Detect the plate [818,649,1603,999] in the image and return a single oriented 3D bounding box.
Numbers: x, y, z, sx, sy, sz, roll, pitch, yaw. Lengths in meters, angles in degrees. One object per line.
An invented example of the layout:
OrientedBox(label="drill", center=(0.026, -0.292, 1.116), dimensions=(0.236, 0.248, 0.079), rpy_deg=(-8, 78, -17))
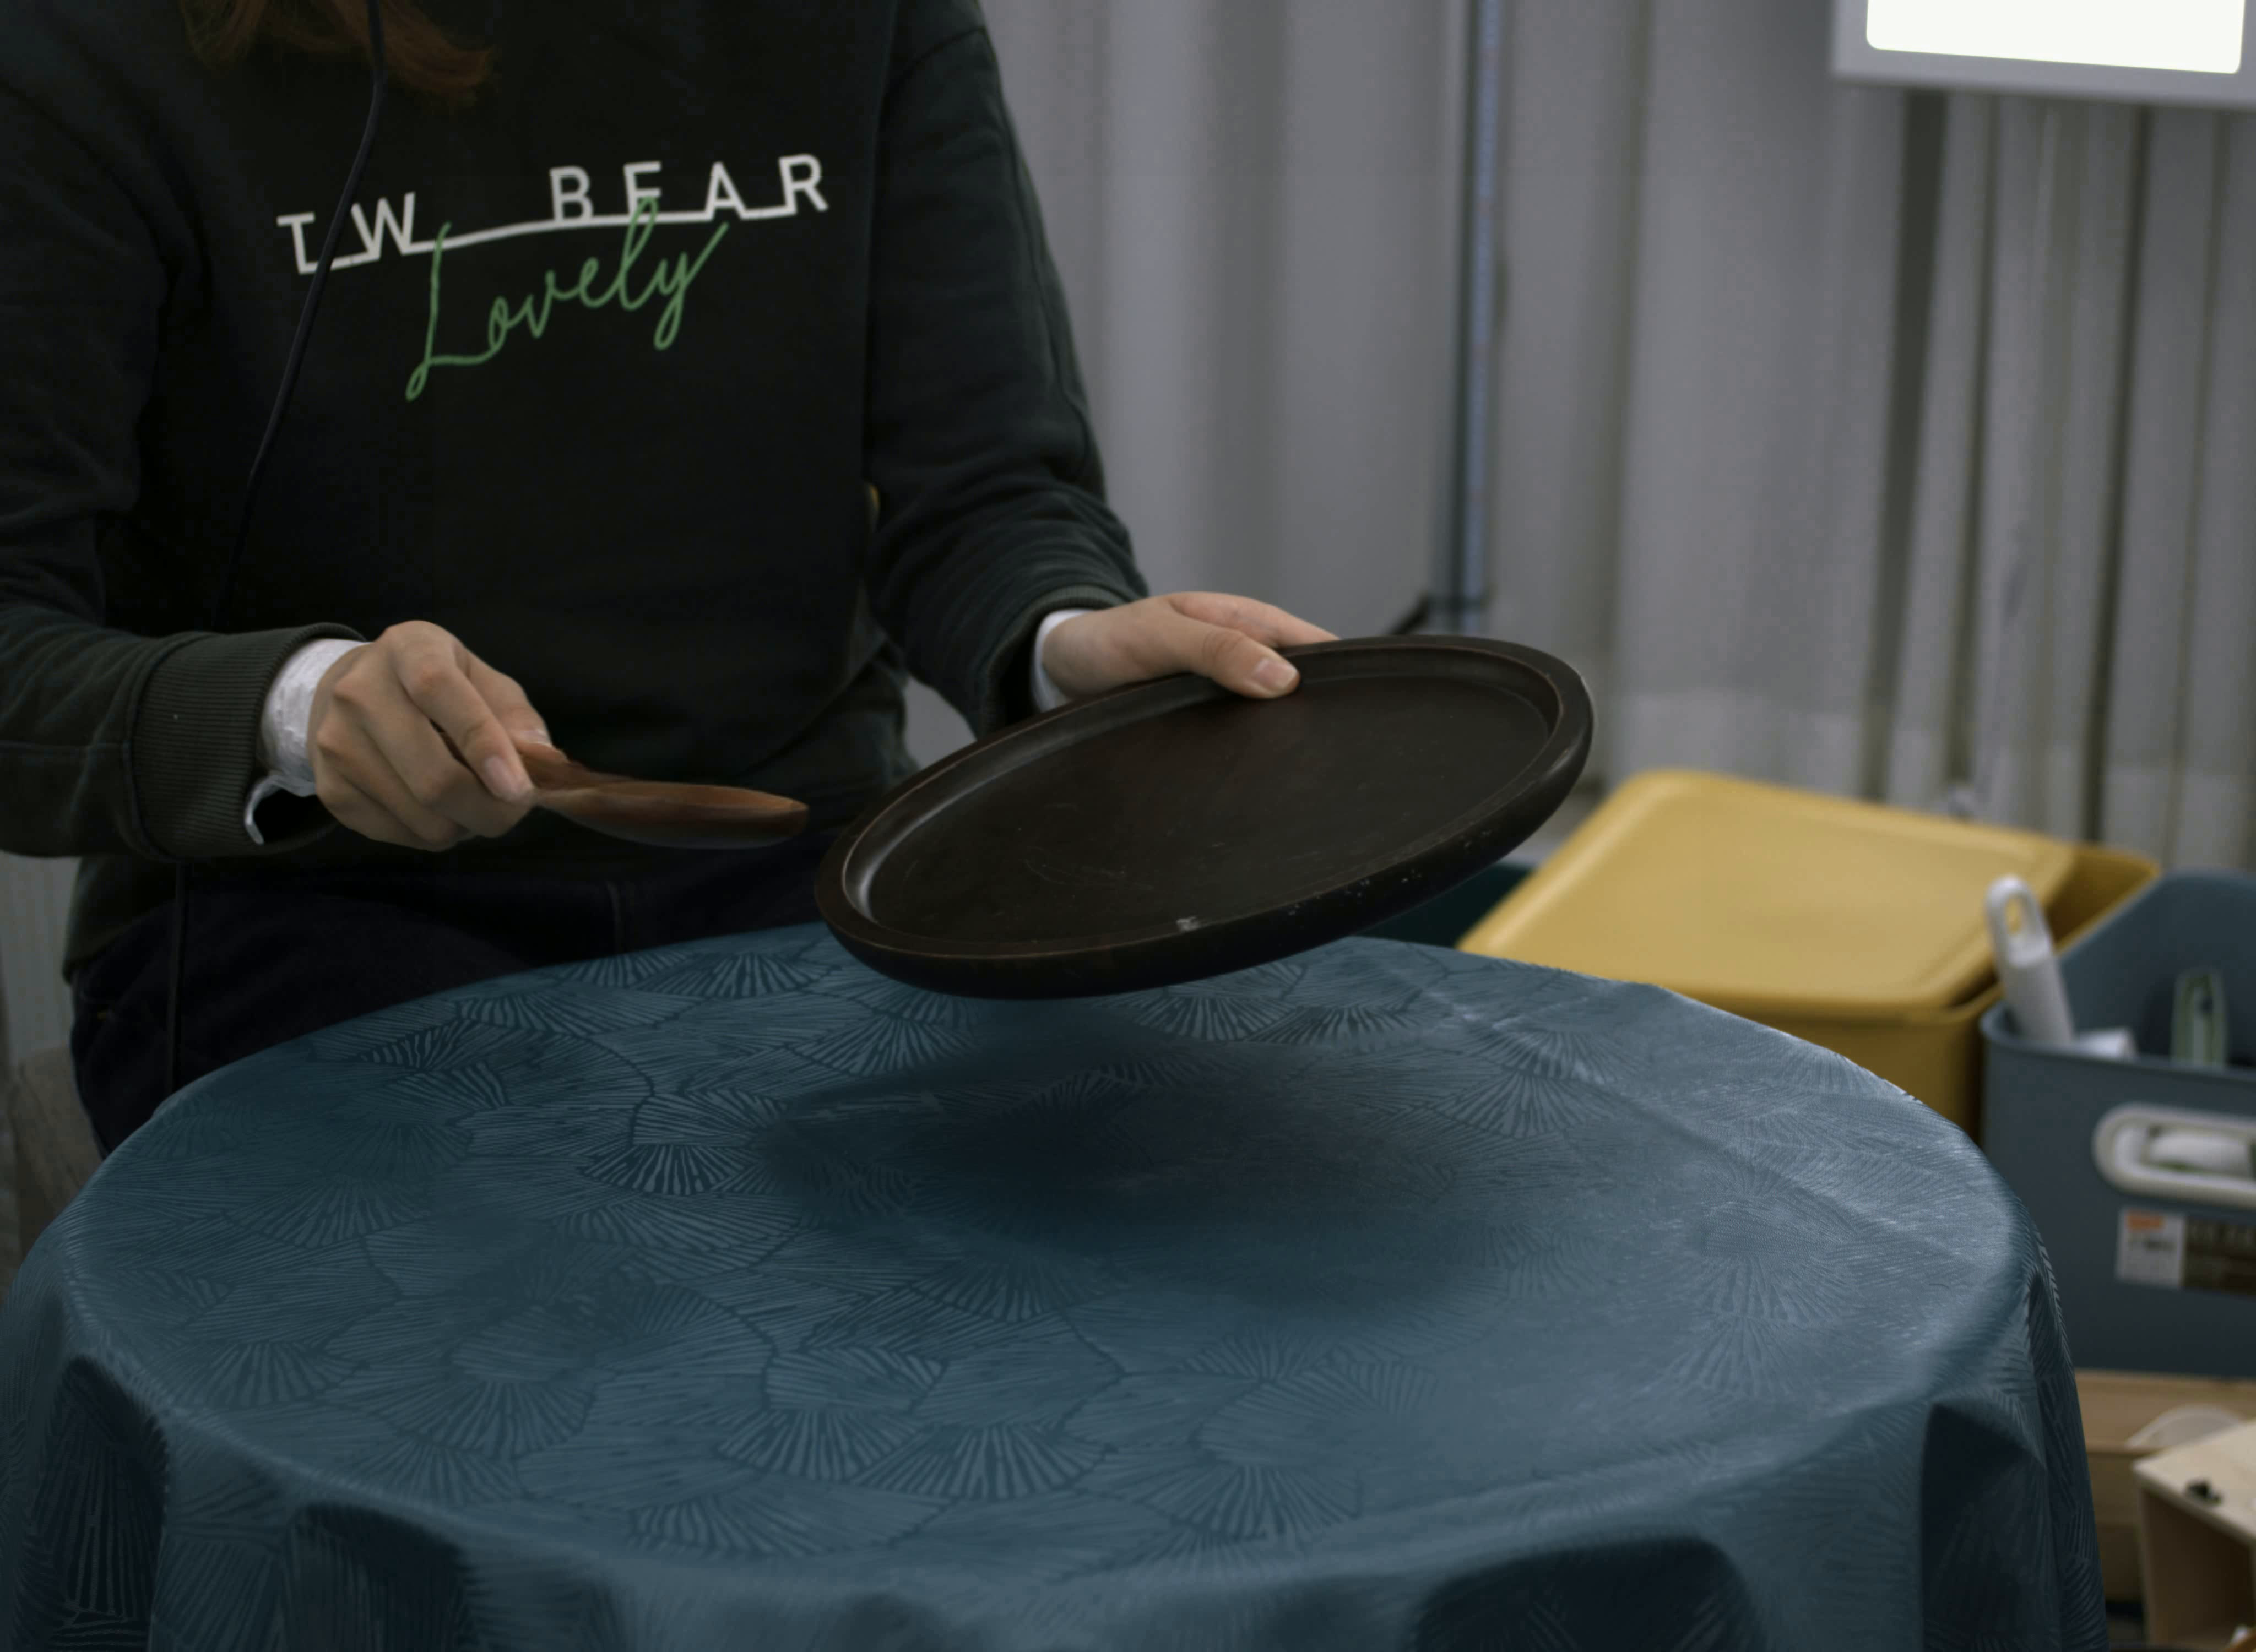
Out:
OrientedBox(label="plate", center=(0.027, -0.003, 1.661), dimensions=(0.254, 0.029, 0.253), rpy_deg=(-12, 20, 5))

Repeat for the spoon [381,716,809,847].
OrientedBox(label="spoon", center=(-0.172, -0.013, 1.615), dimensions=(0.076, 0.017, 0.213), rpy_deg=(1, 7, -36))
